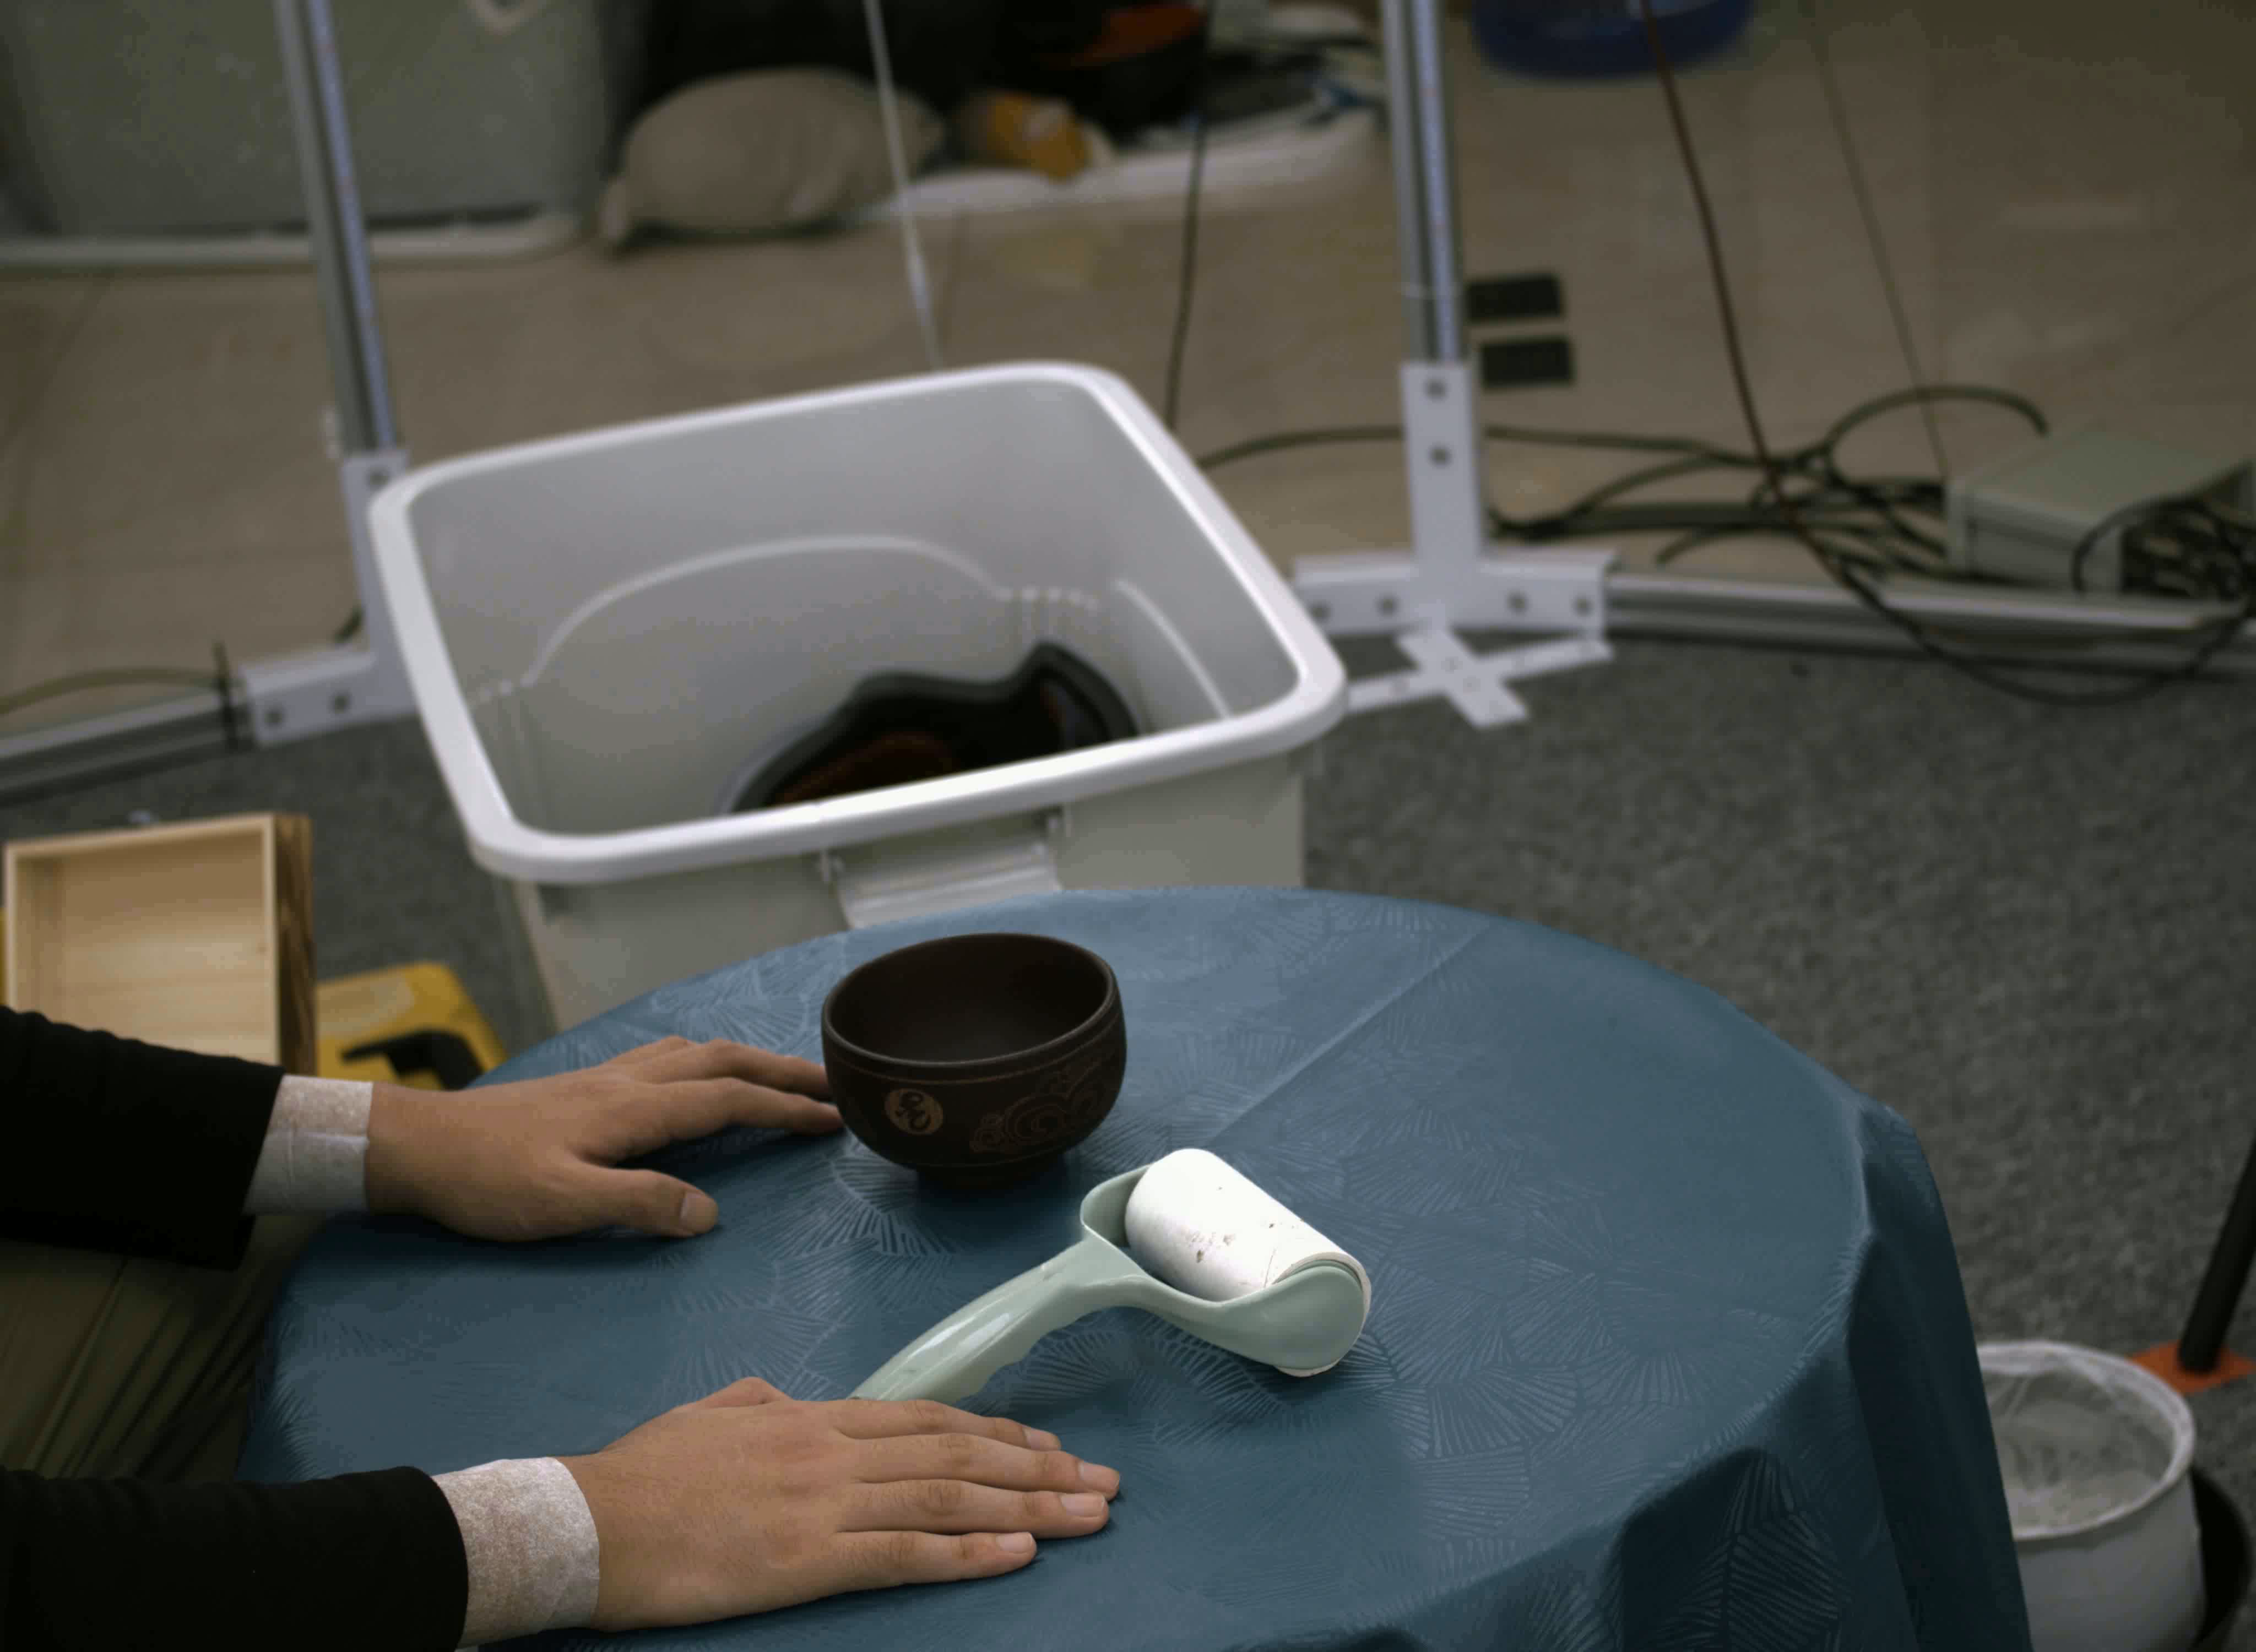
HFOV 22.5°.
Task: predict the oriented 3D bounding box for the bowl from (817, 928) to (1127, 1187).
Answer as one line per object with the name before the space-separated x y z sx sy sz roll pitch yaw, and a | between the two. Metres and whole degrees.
bowl | -0.058 0.095 2.171 0.118 0.071 0.116 -6 26 3

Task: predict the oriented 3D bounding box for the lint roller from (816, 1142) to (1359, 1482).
lint roller | -0.026 0.176 2.021 0.196 0.049 0.115 -20 29 -22
